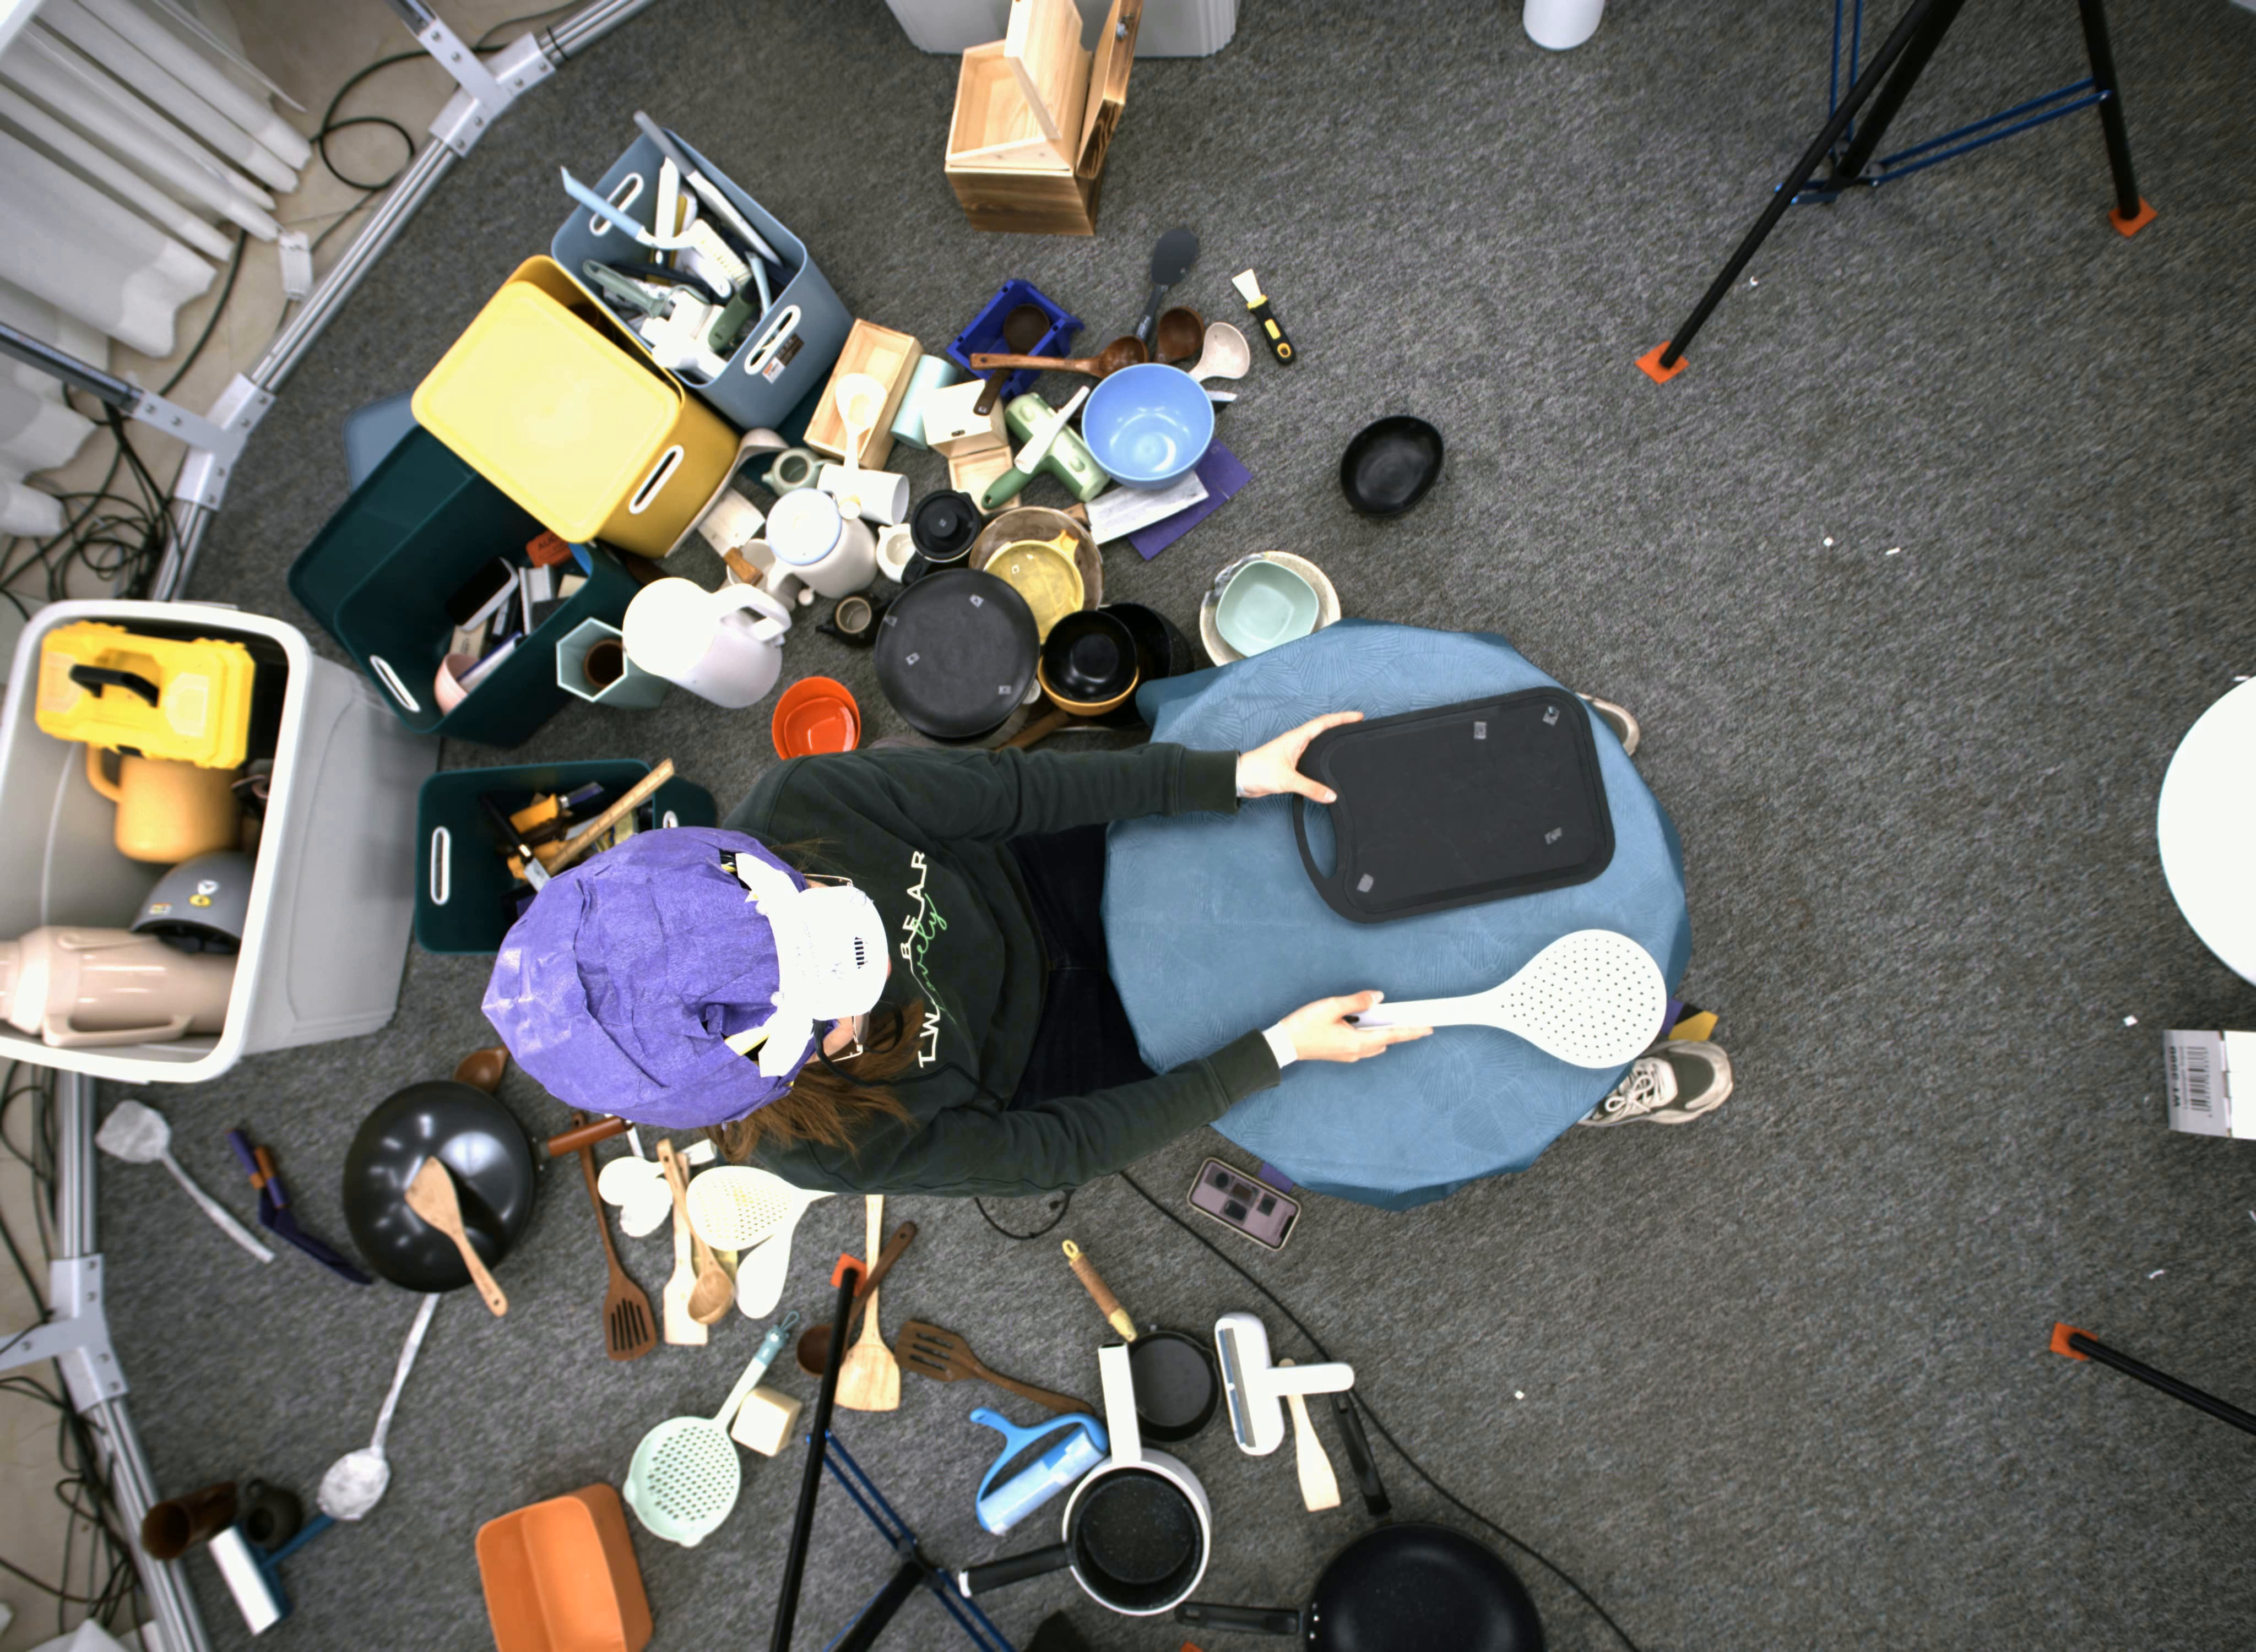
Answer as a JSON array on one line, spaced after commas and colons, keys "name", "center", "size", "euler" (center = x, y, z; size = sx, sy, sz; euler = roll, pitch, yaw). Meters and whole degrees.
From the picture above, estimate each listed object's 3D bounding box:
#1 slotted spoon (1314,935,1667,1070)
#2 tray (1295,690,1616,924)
[{"name": "slotted spoon", "center": [0.366, 0.186, 1.406], "size": [0.351, 0.046, 0.135], "euler": [-5, 85, 5]}, {"name": "tray", "center": [0.338, -0.020, 1.434], "size": [0.326, 0.010, 0.210], "euler": [-11, 88, 3]}]
